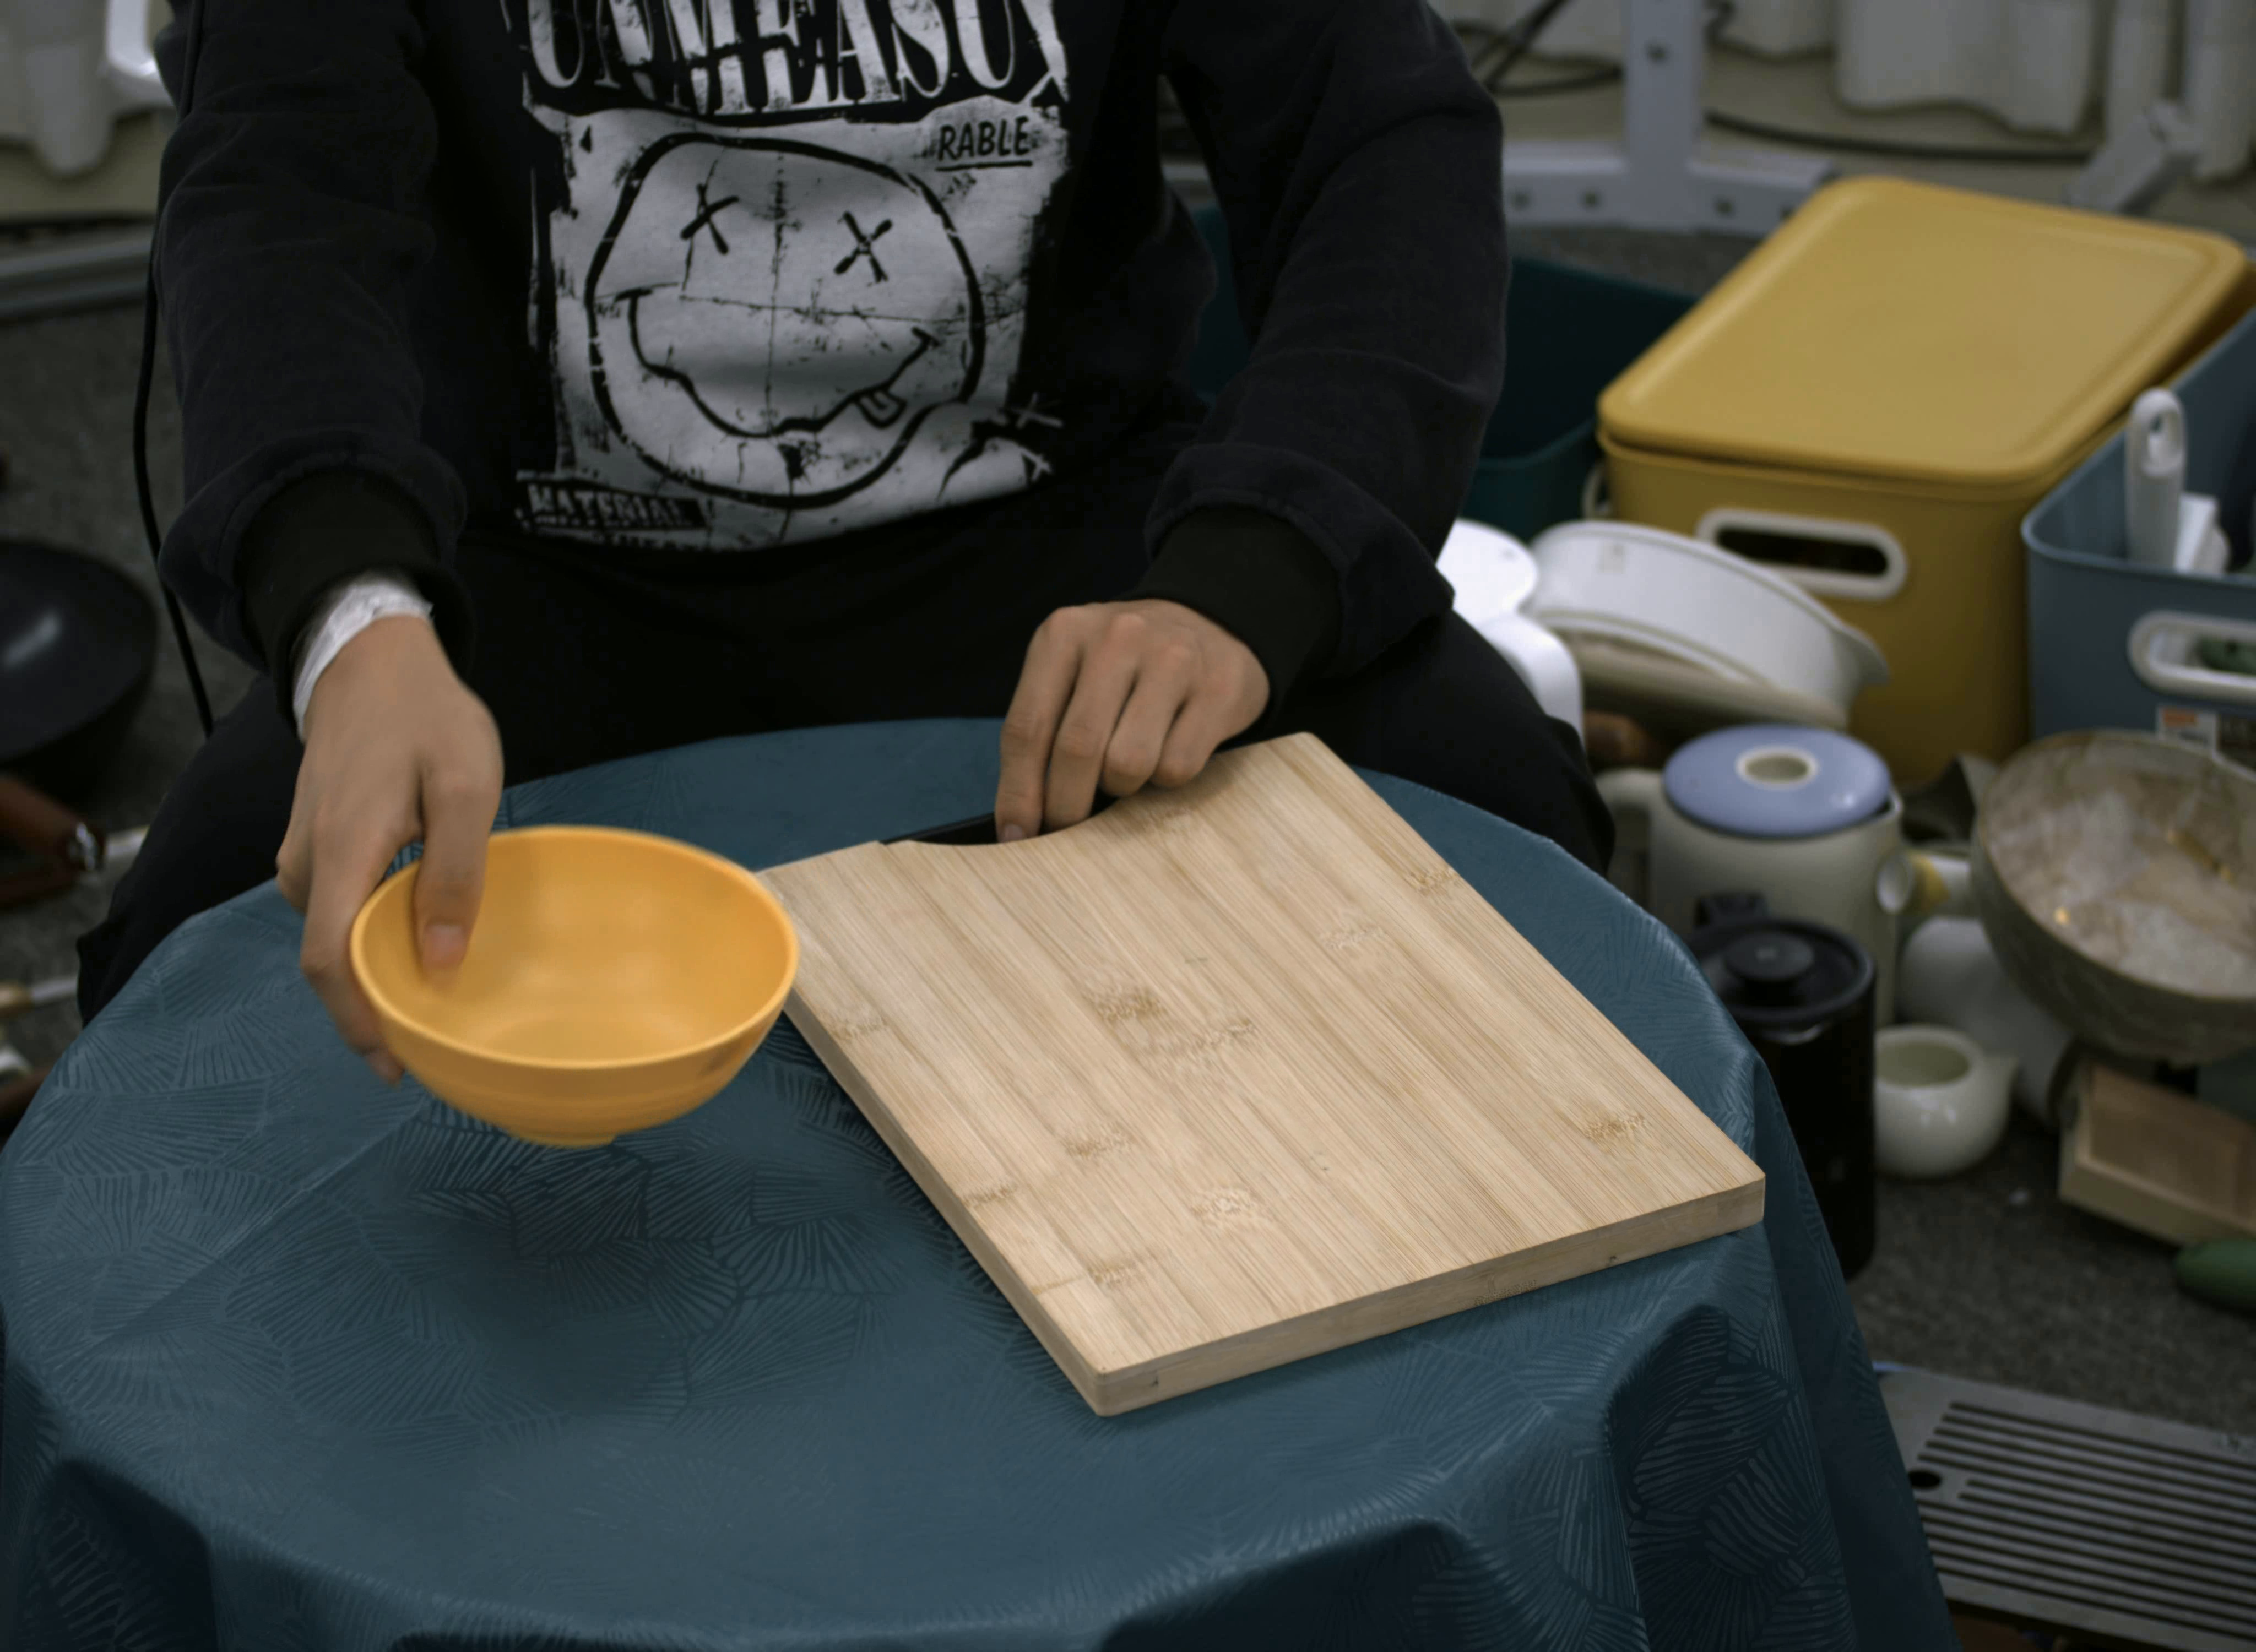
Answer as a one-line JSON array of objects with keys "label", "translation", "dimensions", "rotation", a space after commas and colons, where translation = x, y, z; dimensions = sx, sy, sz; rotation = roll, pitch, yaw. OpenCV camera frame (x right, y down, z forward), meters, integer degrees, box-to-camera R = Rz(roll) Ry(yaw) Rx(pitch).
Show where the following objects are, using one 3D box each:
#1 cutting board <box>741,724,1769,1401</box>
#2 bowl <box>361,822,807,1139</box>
[{"label": "cutting board", "translation": [0.029, 0.073, 1.922], "dimensions": [0.252, 0.023, 0.351], "rotation": [-14, 31, -21]}, {"label": "bowl", "translation": [-0.178, 0.060, 1.829], "dimensions": [0.145, 0.059, 0.147], "rotation": [5, 29, -2]}]
